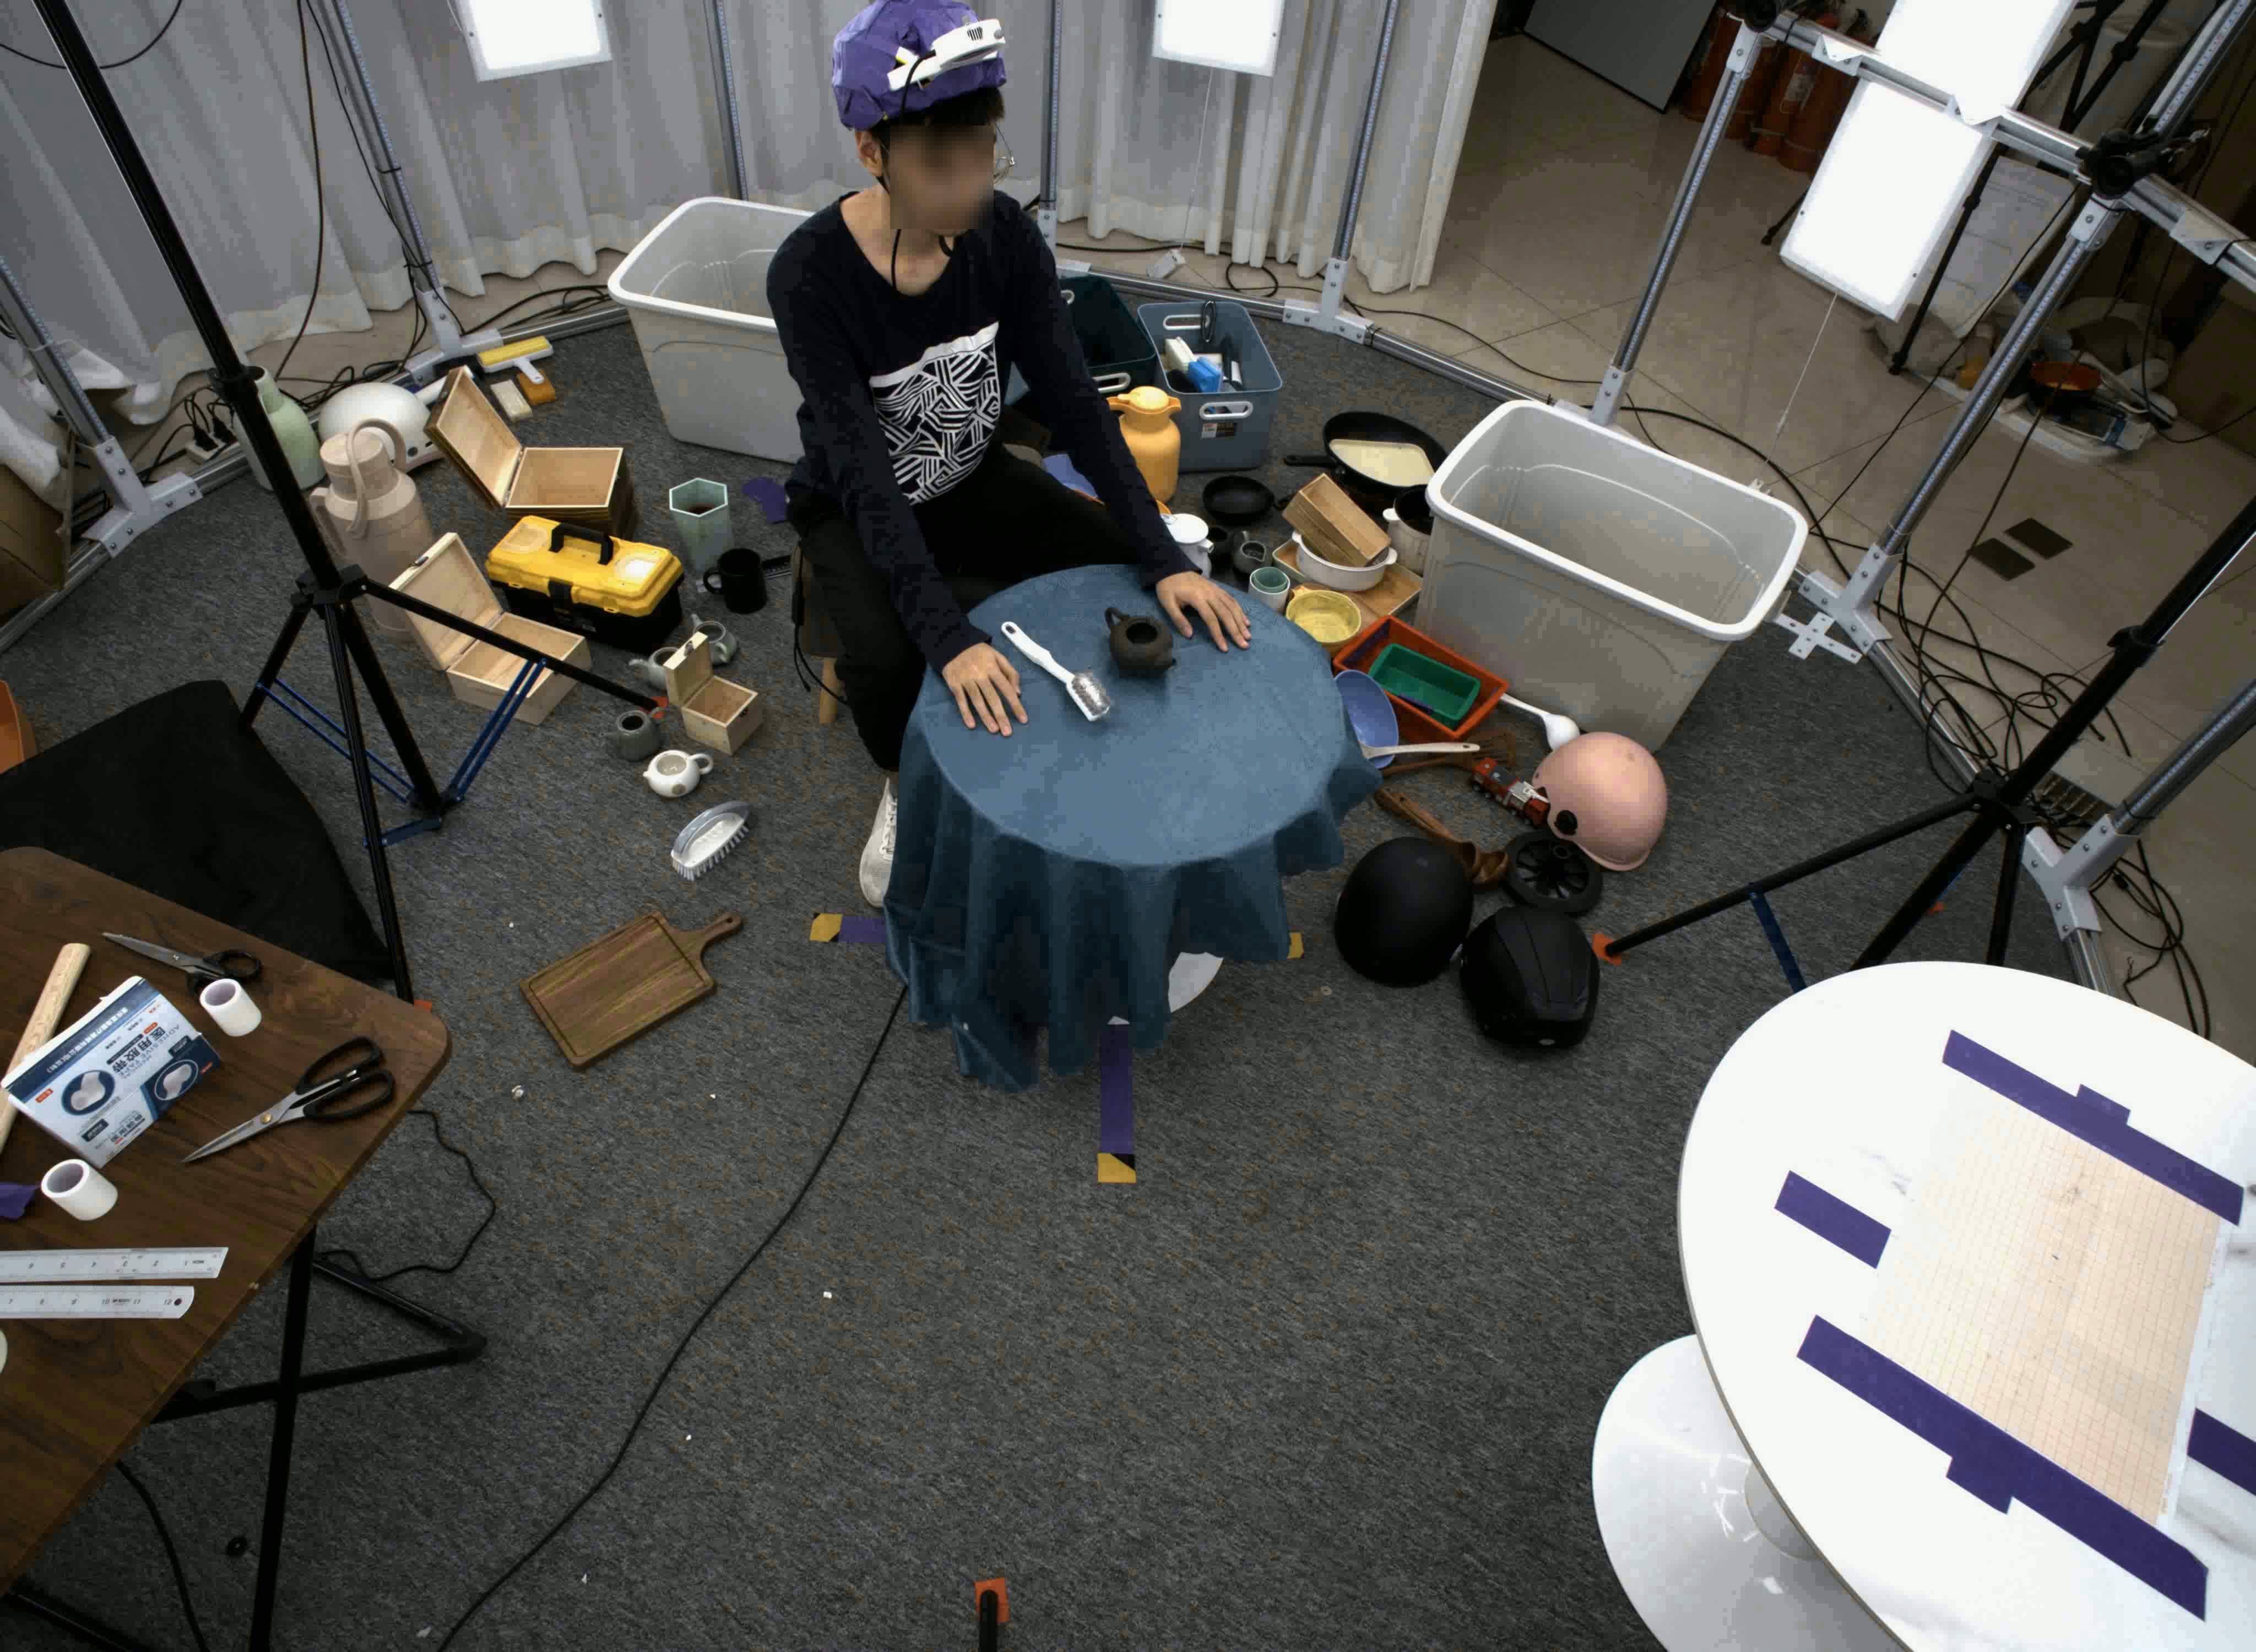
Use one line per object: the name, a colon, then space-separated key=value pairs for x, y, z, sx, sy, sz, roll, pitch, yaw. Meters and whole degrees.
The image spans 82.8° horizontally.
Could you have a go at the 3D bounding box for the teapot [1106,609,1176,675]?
teapot: x=0.017 y=-0.263 z=1.858 sx=0.093 sy=0.063 sz=0.157 roll=-29 pitch=55 yaw=-25

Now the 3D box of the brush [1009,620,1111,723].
brush: x=-0.102 y=-0.235 z=1.835 sx=0.034 sy=0.049 sz=0.248 roll=-28 pitch=56 yaw=-19
